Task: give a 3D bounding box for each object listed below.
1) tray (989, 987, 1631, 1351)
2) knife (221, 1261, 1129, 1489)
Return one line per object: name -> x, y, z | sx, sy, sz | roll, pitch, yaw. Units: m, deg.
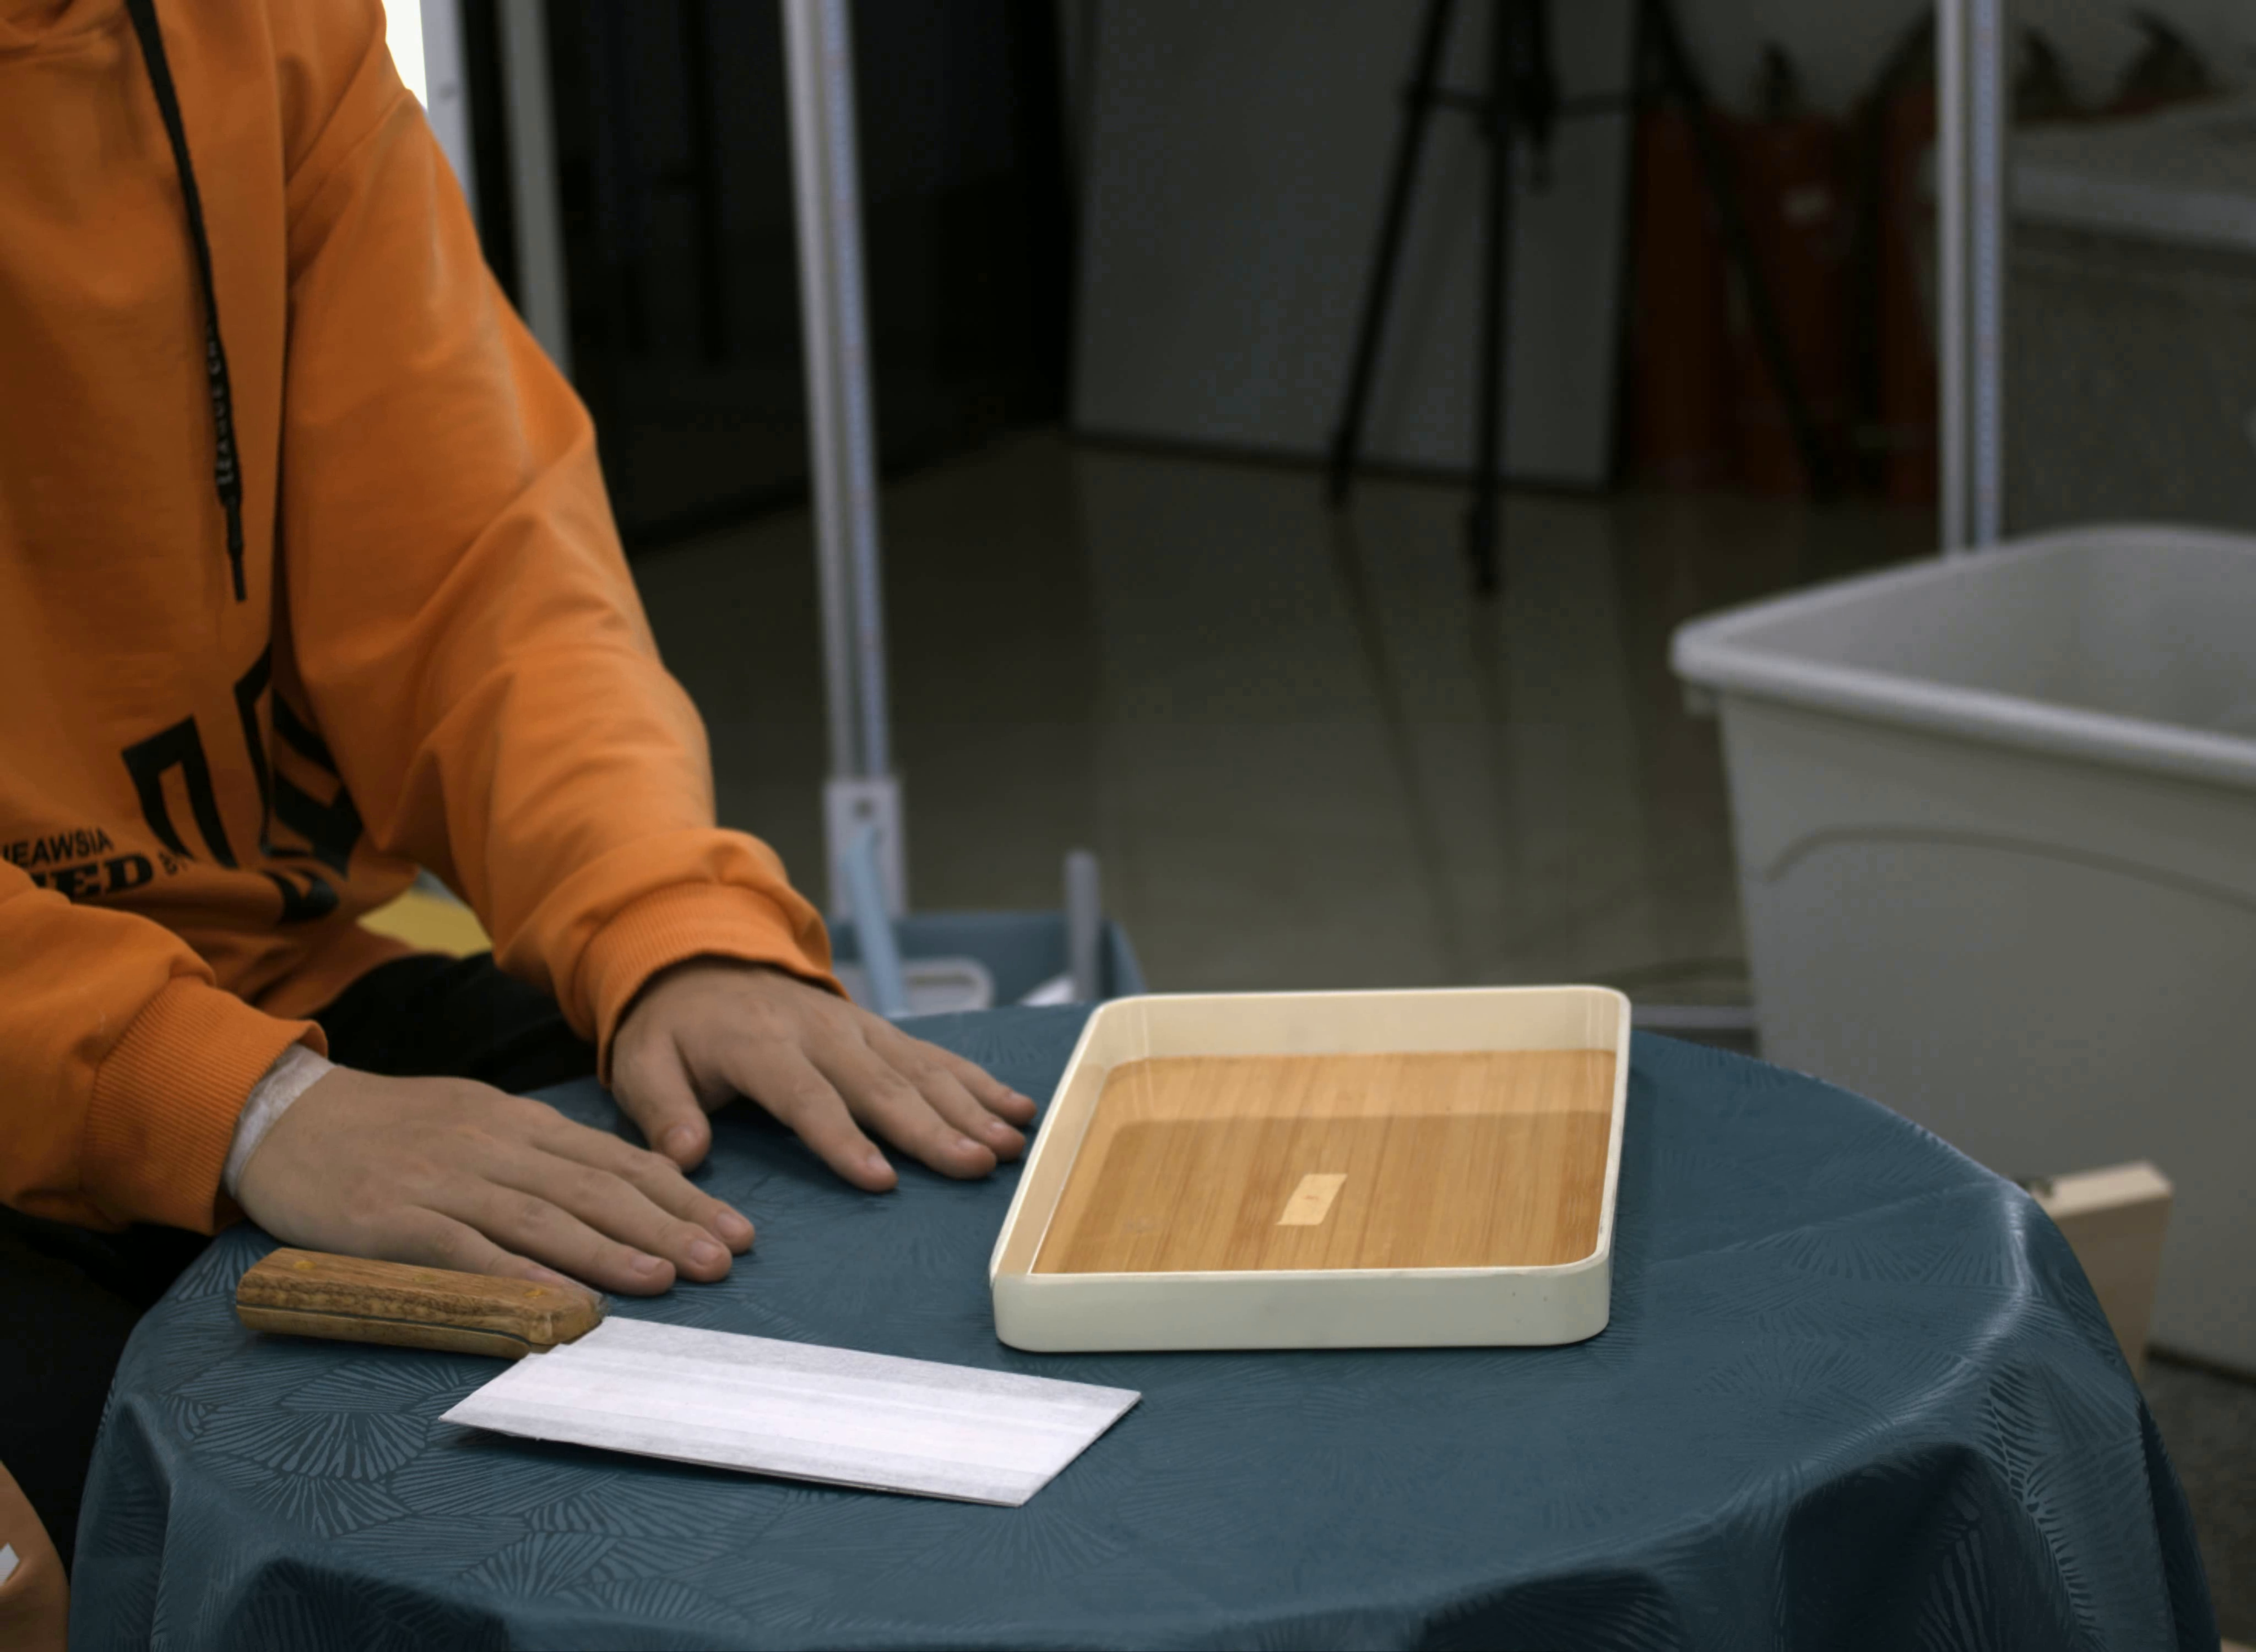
tray -> 0.067, 0.108, 1.746 | 0.190, 0.028, 0.299 | -2, 14, 8
knife -> -0.149, 0.165, 1.604 | 0.306, 0.021, 0.092 | 5, 18, 25
